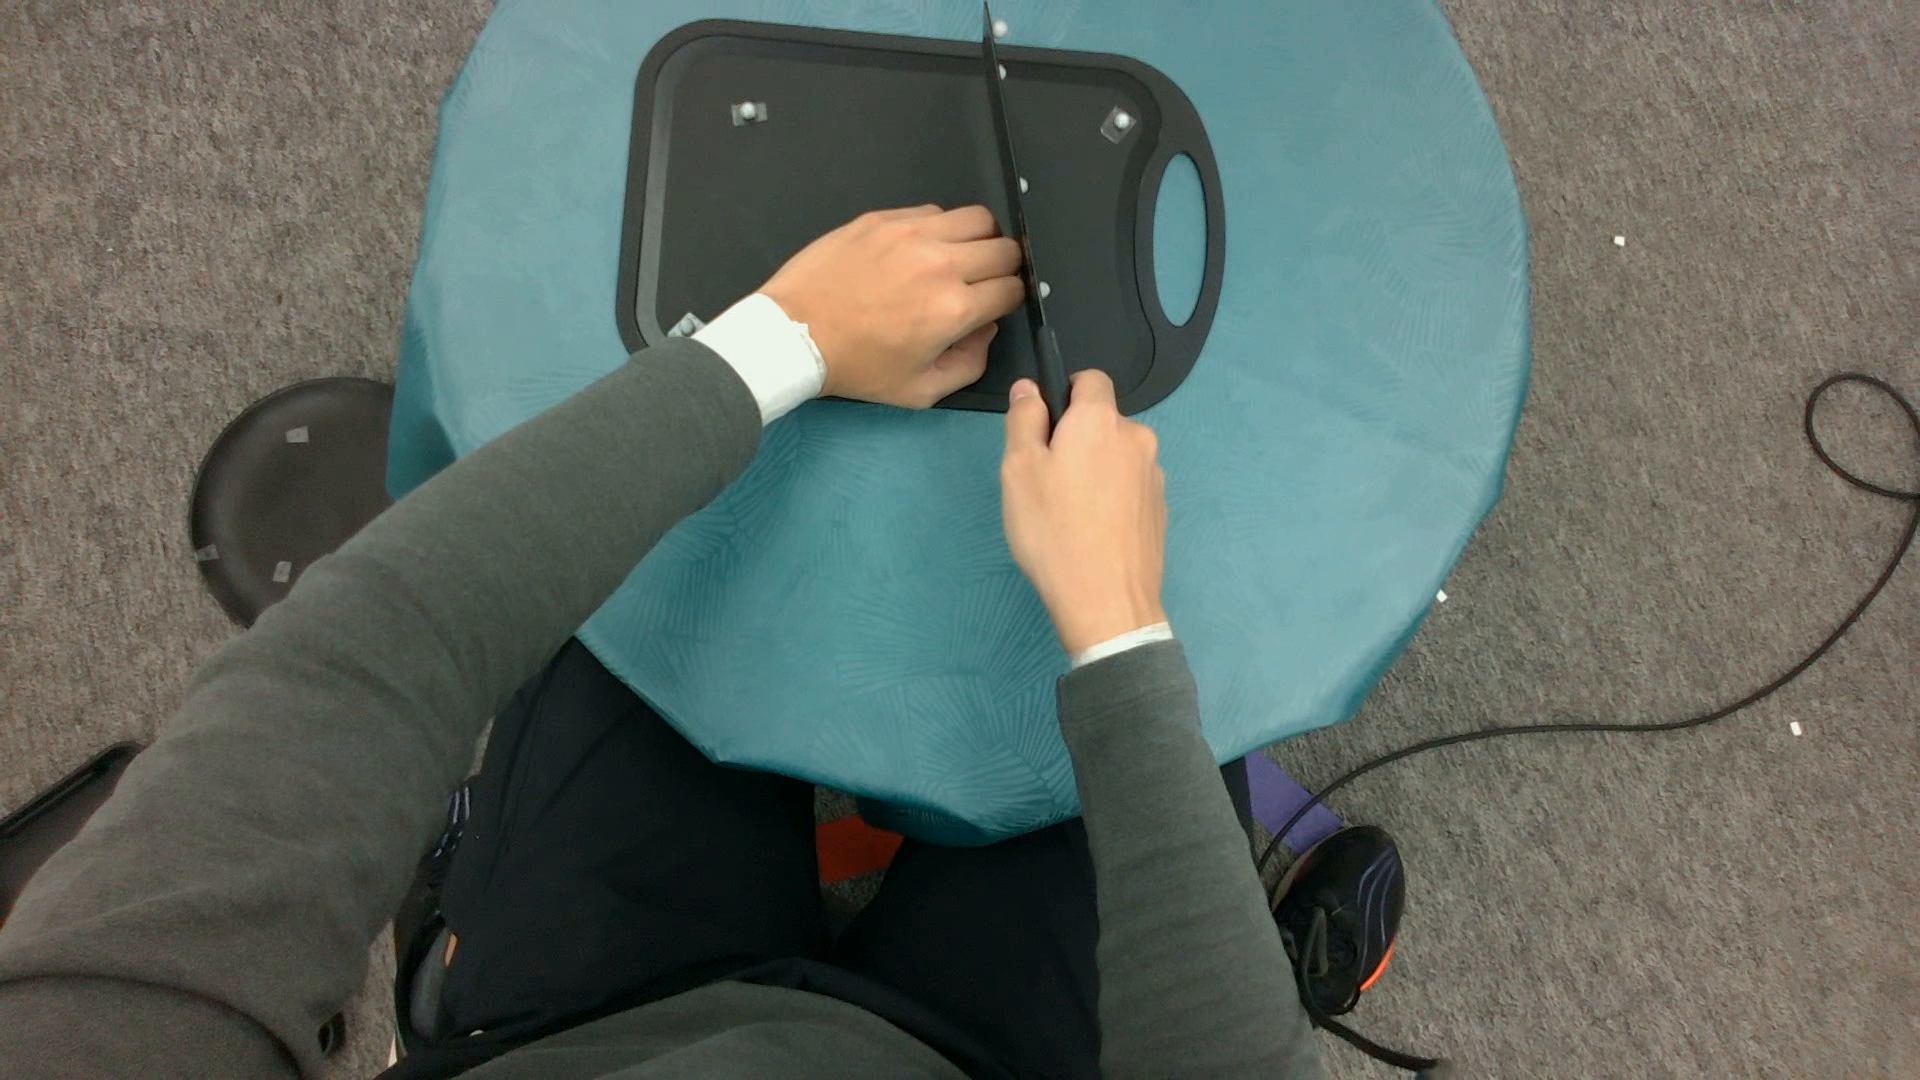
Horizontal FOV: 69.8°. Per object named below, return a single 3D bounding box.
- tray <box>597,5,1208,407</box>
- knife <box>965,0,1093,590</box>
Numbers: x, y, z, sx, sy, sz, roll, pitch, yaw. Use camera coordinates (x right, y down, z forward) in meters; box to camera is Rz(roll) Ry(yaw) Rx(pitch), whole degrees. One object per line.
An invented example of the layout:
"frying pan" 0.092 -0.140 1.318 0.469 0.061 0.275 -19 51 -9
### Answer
"tray" -0.025 -0.181 0.742 0.325 0.010 0.211 4 80 -5
"knife" 0.029 -0.123 0.684 0.021 0.081 0.303 -10 76 -2
